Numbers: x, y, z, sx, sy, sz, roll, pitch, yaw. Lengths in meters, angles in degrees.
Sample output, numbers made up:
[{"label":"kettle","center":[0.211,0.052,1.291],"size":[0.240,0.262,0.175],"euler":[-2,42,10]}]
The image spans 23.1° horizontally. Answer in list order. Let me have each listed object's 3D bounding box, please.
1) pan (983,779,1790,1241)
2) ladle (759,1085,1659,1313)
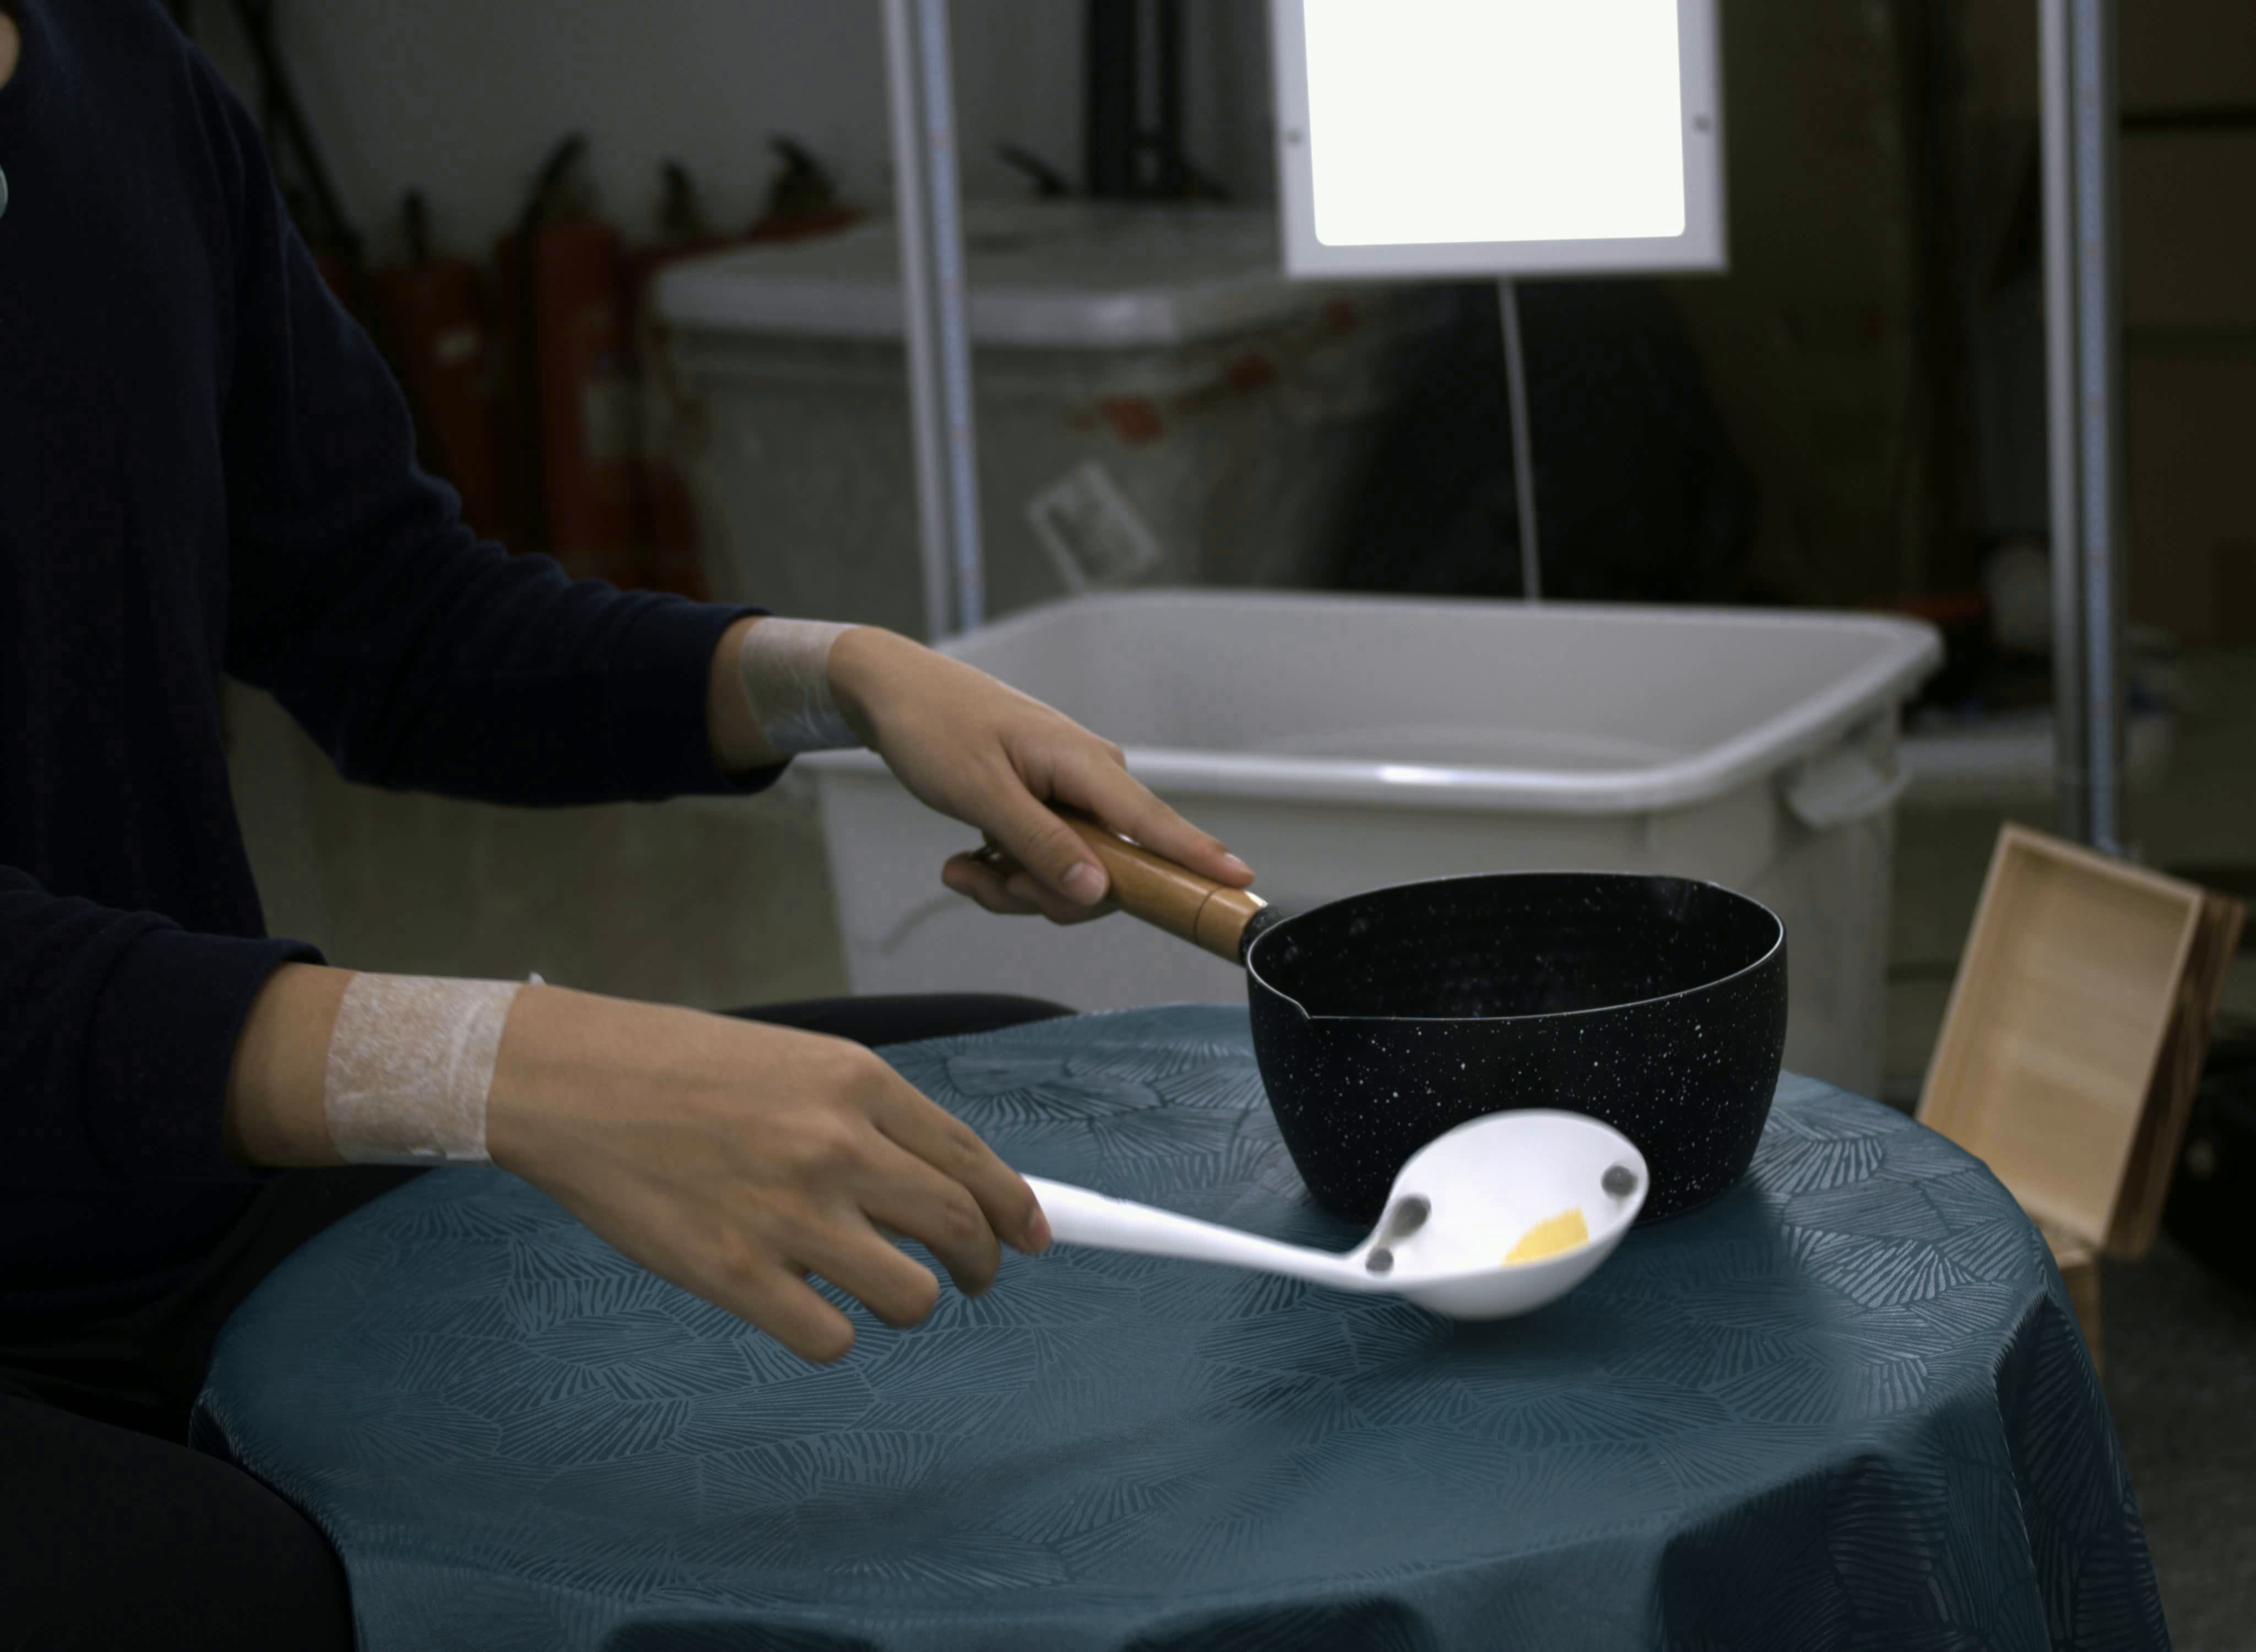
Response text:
[{"label":"pan","center":[0.075,0.058,1.919],"size":[0.350,0.108,0.202],"euler":[10,21,43]},{"label":"ladle","center":[0.027,0.109,1.663],"size":[0.286,0.070,0.091],"euler":[6,18,-30]}]
